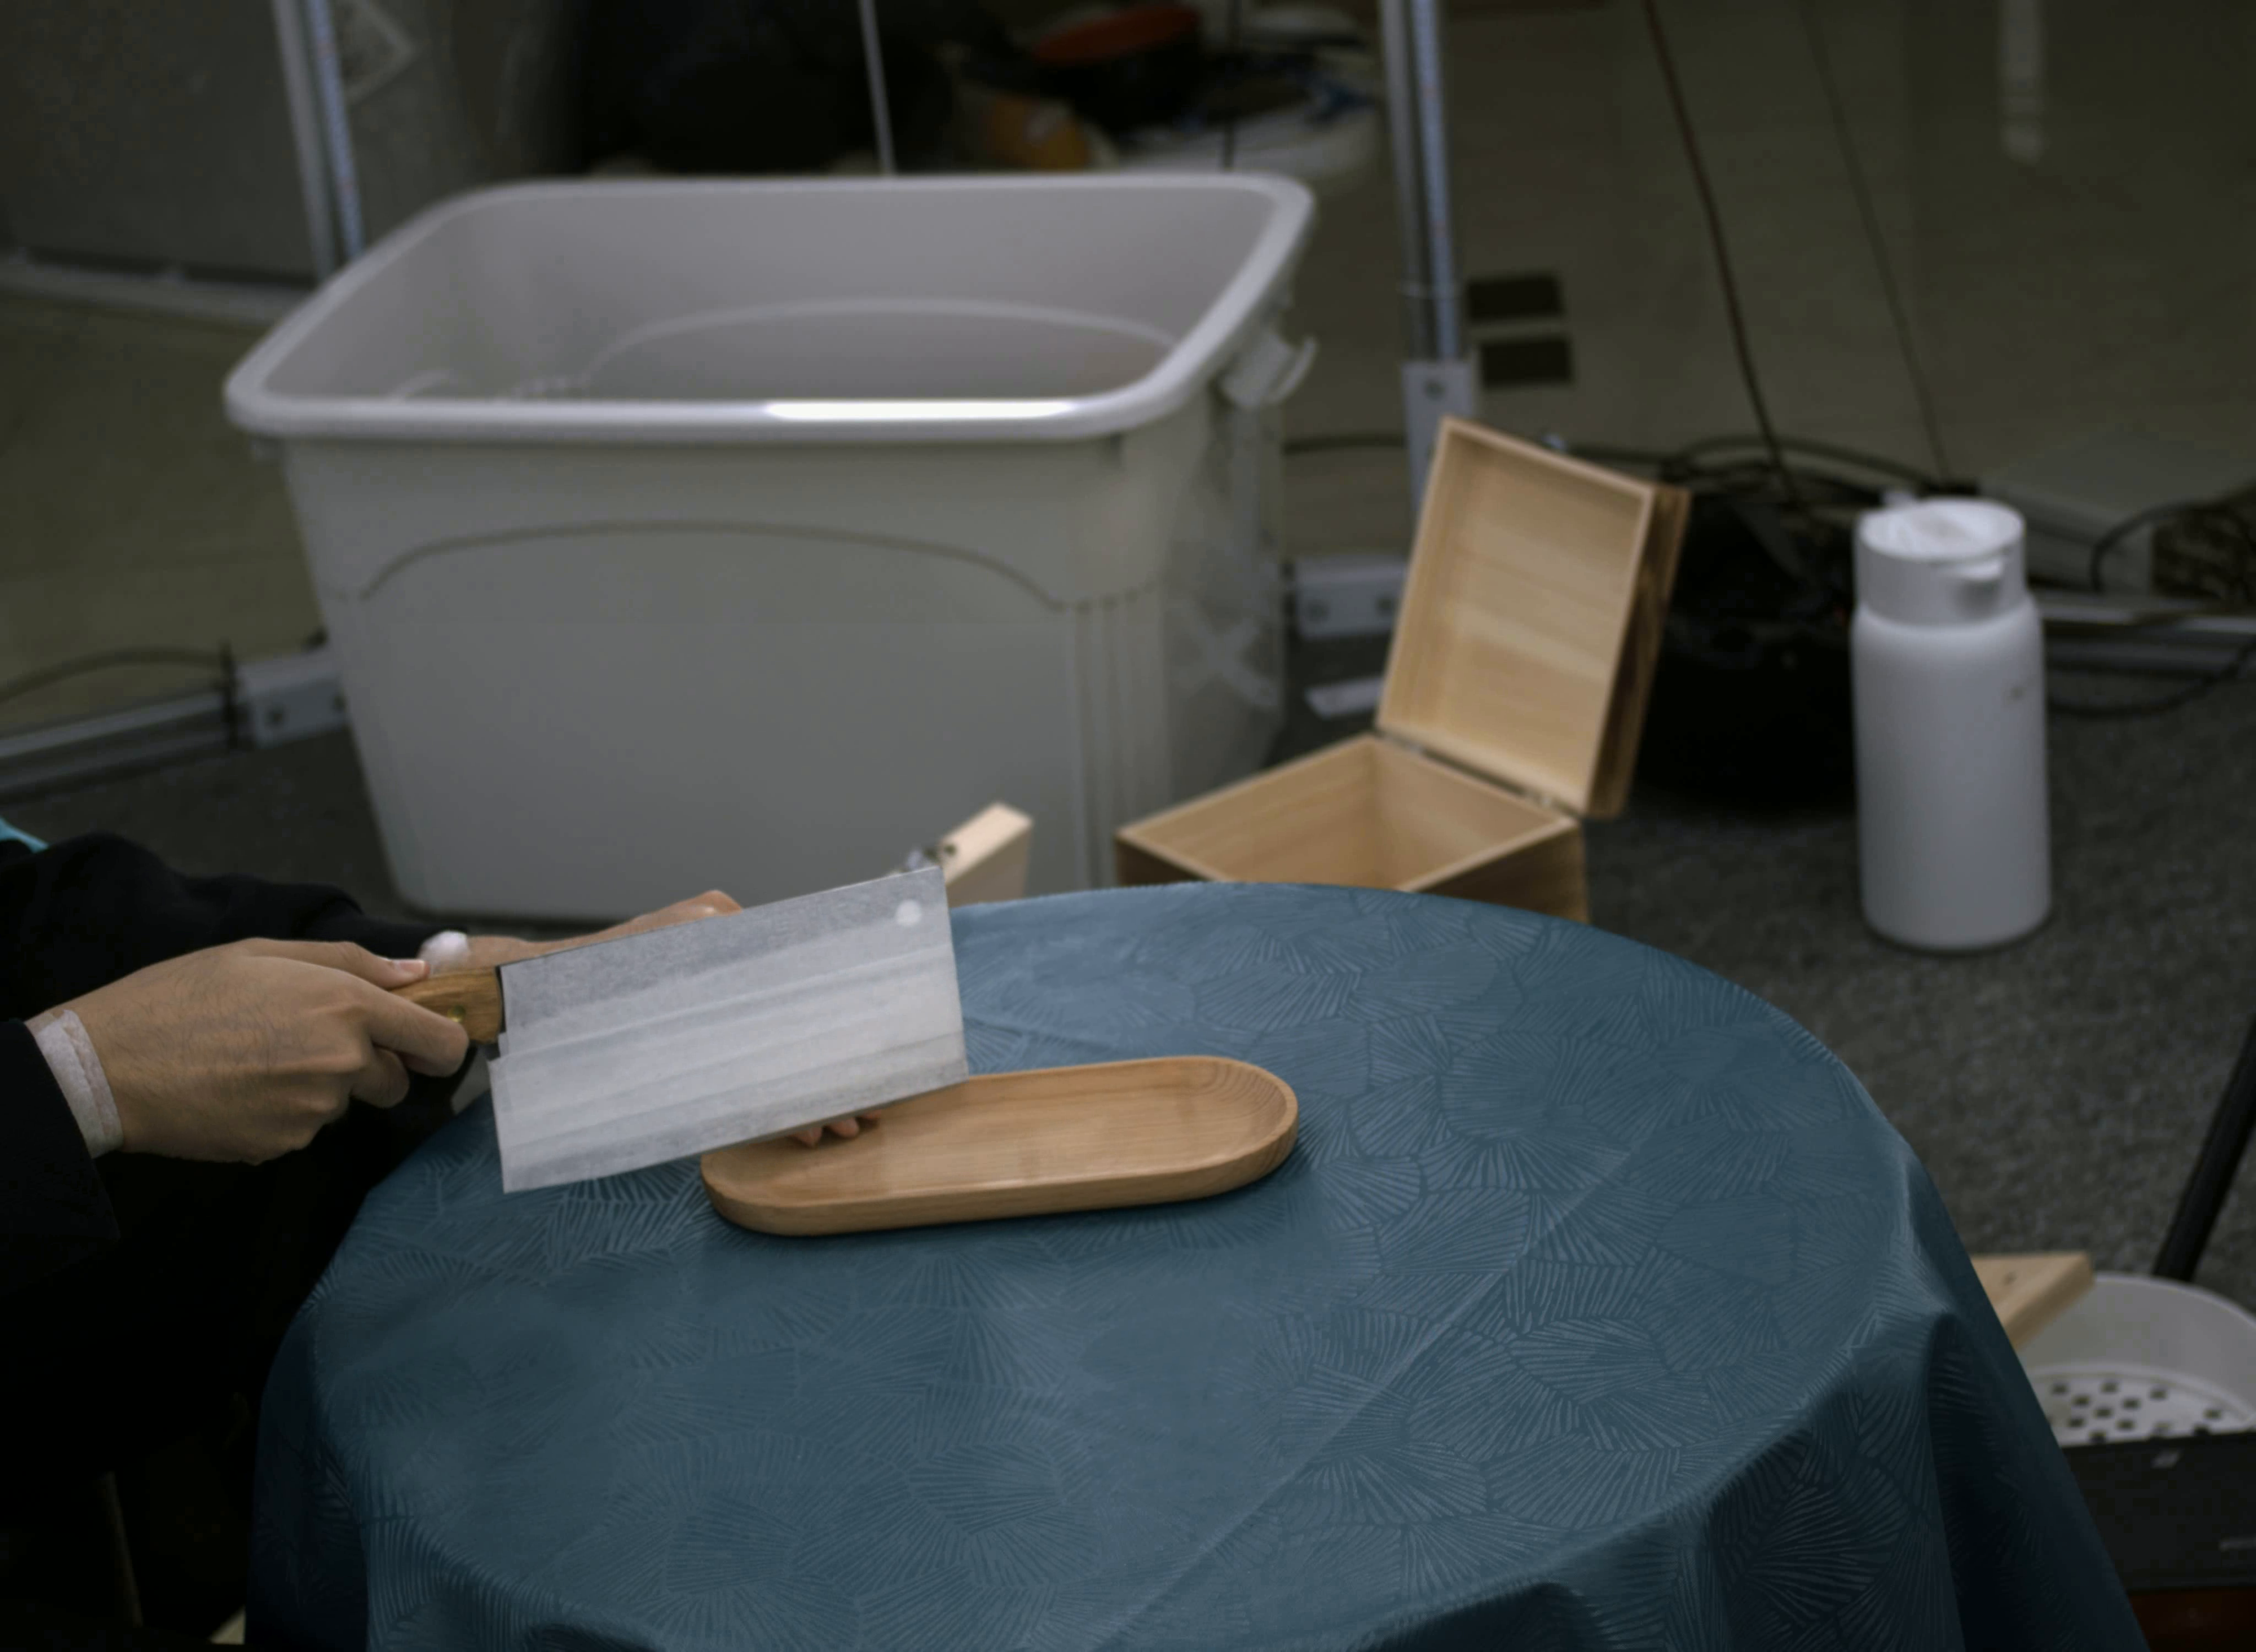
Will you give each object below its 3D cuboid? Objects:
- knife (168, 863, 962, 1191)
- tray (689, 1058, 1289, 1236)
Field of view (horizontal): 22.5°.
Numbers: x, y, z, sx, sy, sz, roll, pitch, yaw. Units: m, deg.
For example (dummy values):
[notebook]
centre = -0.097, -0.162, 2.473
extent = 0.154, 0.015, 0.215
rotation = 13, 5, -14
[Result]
[knife]
centre = -0.205, 0.086, 2.124
extent = 0.304, 0.094, 0.021
rotation = -13, 19, -20
[tray]
centre = -0.053, 0.123, 2.172
extent = 0.231, 0.020, 0.100
rotation = -6, 23, 3
